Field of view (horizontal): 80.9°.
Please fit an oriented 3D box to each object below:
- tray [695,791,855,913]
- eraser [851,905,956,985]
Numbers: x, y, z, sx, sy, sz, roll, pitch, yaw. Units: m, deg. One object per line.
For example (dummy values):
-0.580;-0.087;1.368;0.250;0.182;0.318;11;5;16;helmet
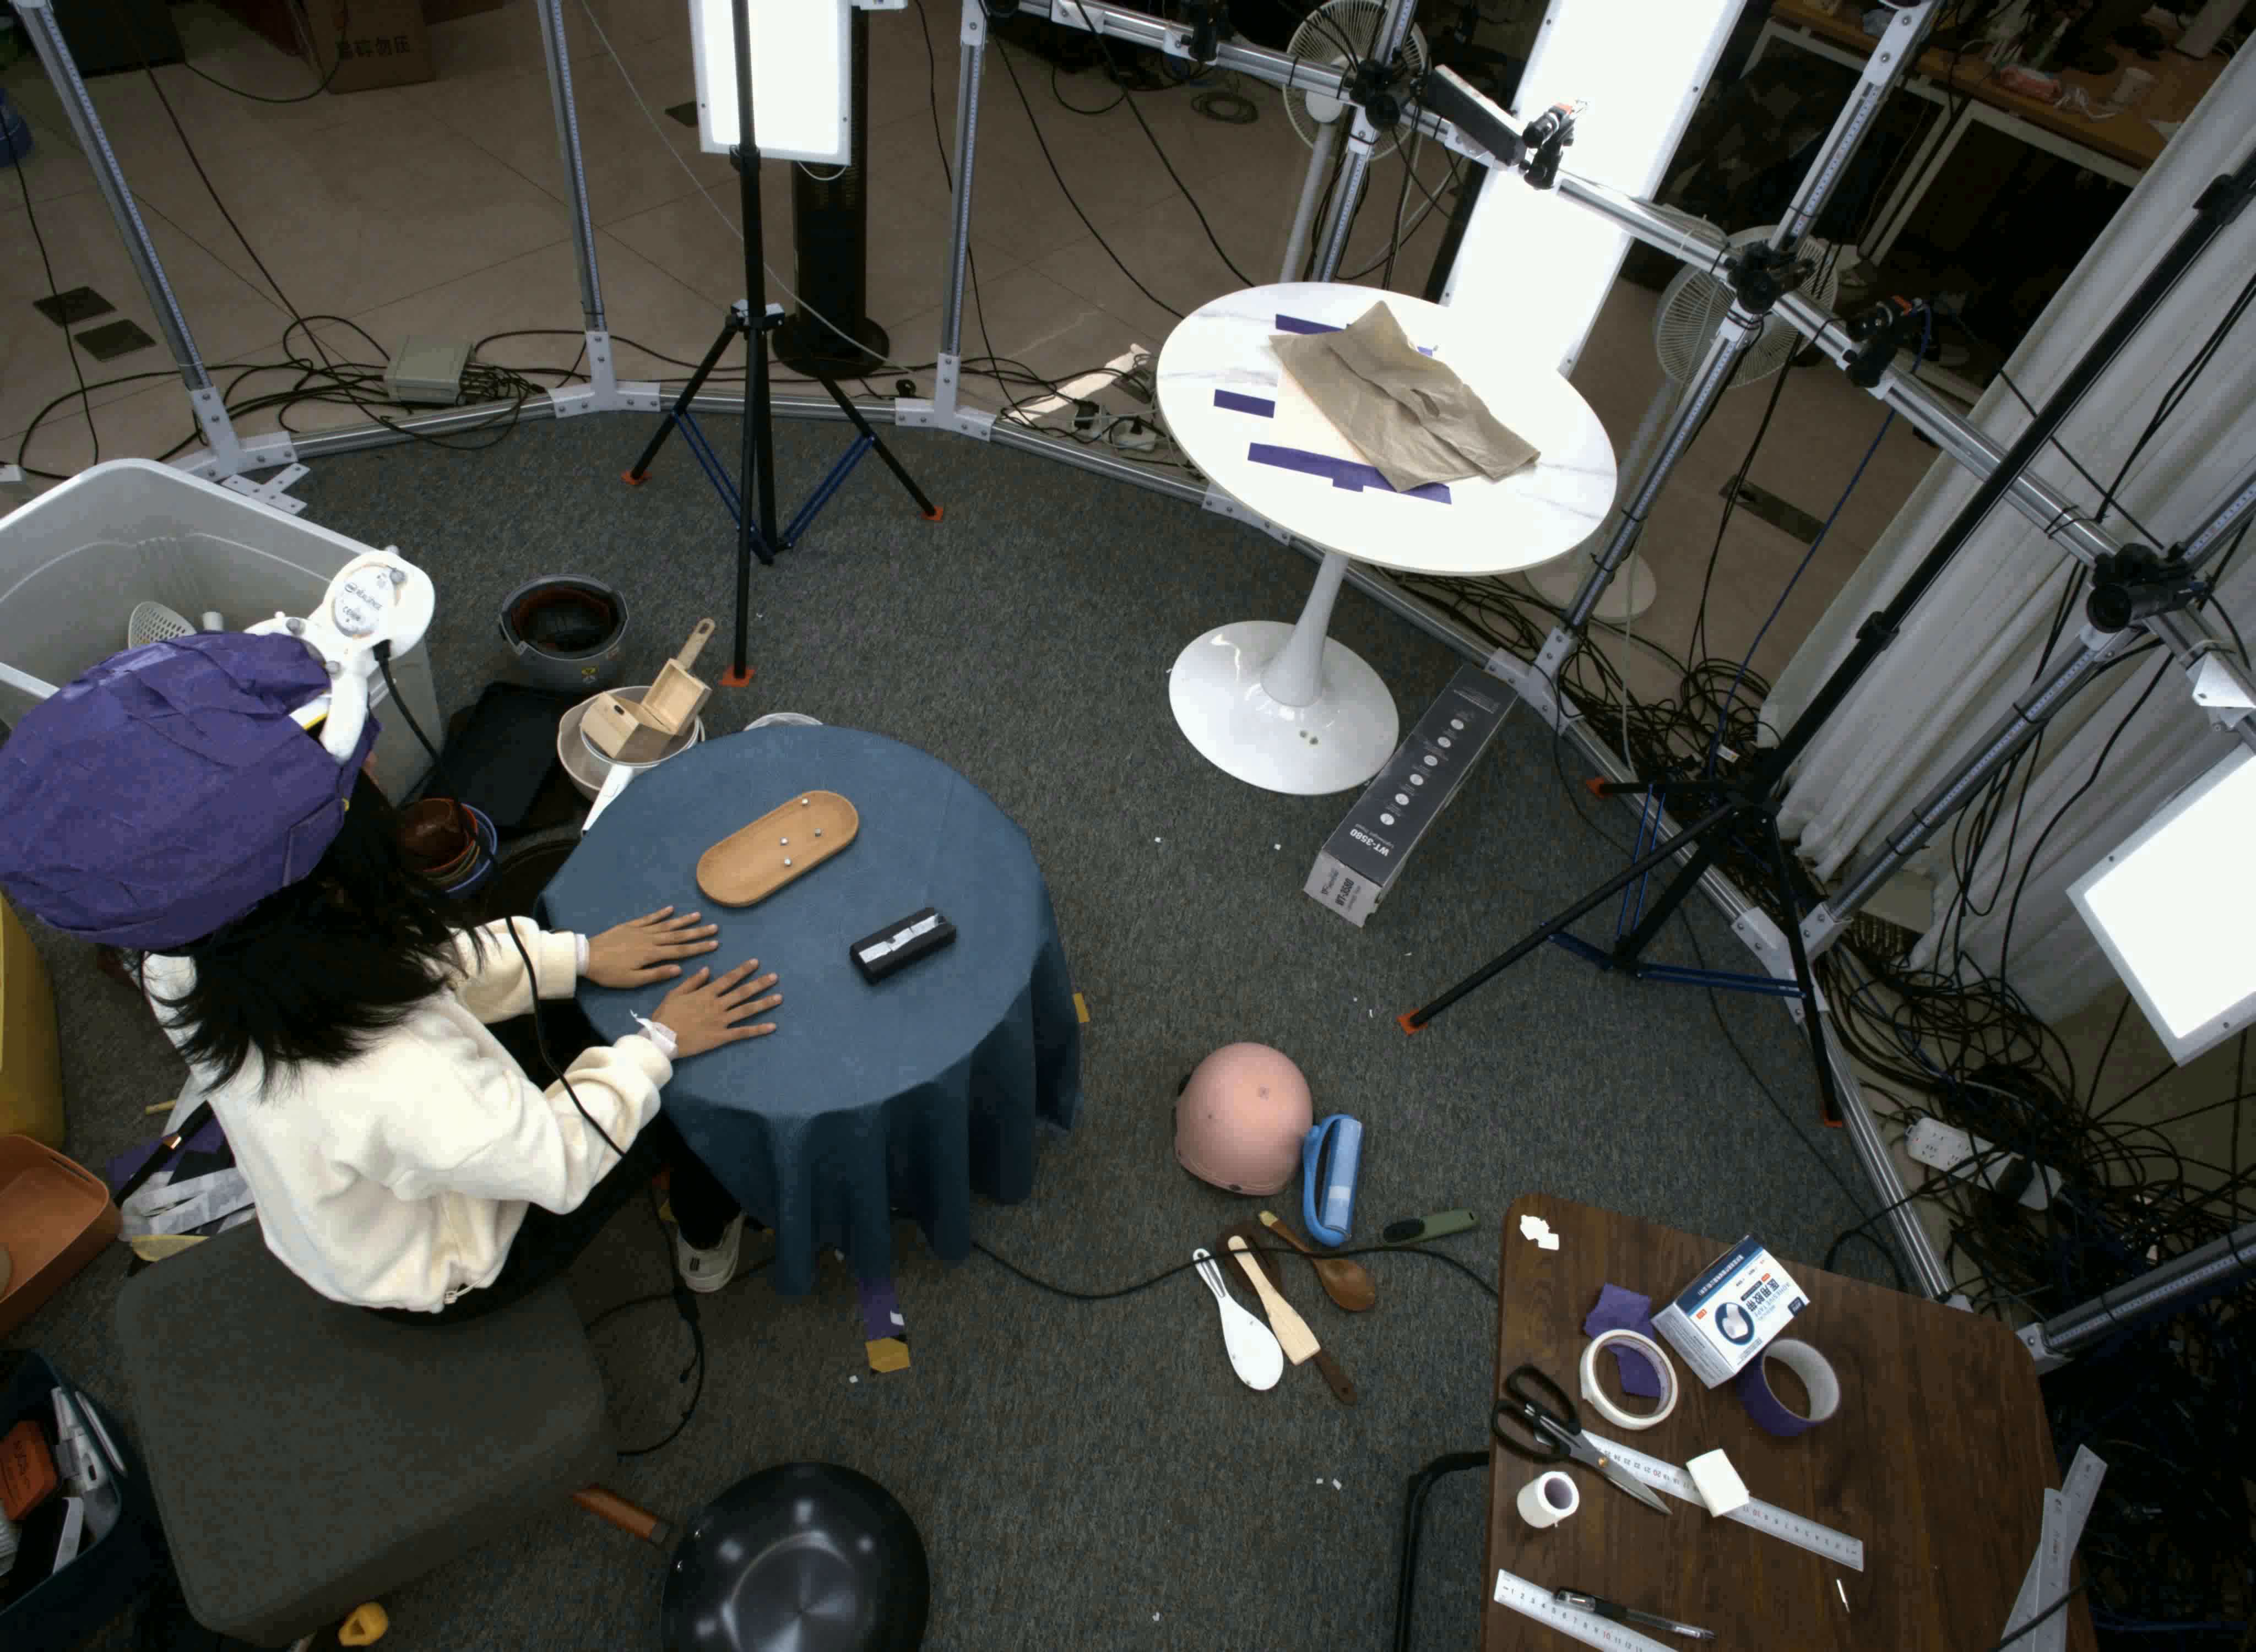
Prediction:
-0.455;0.031;1.677;0.099;0.021;0.231;40;56;17;tray
-0.280;0.145;1.629;0.126;0.031;0.052;-28;58;-32;eraser
